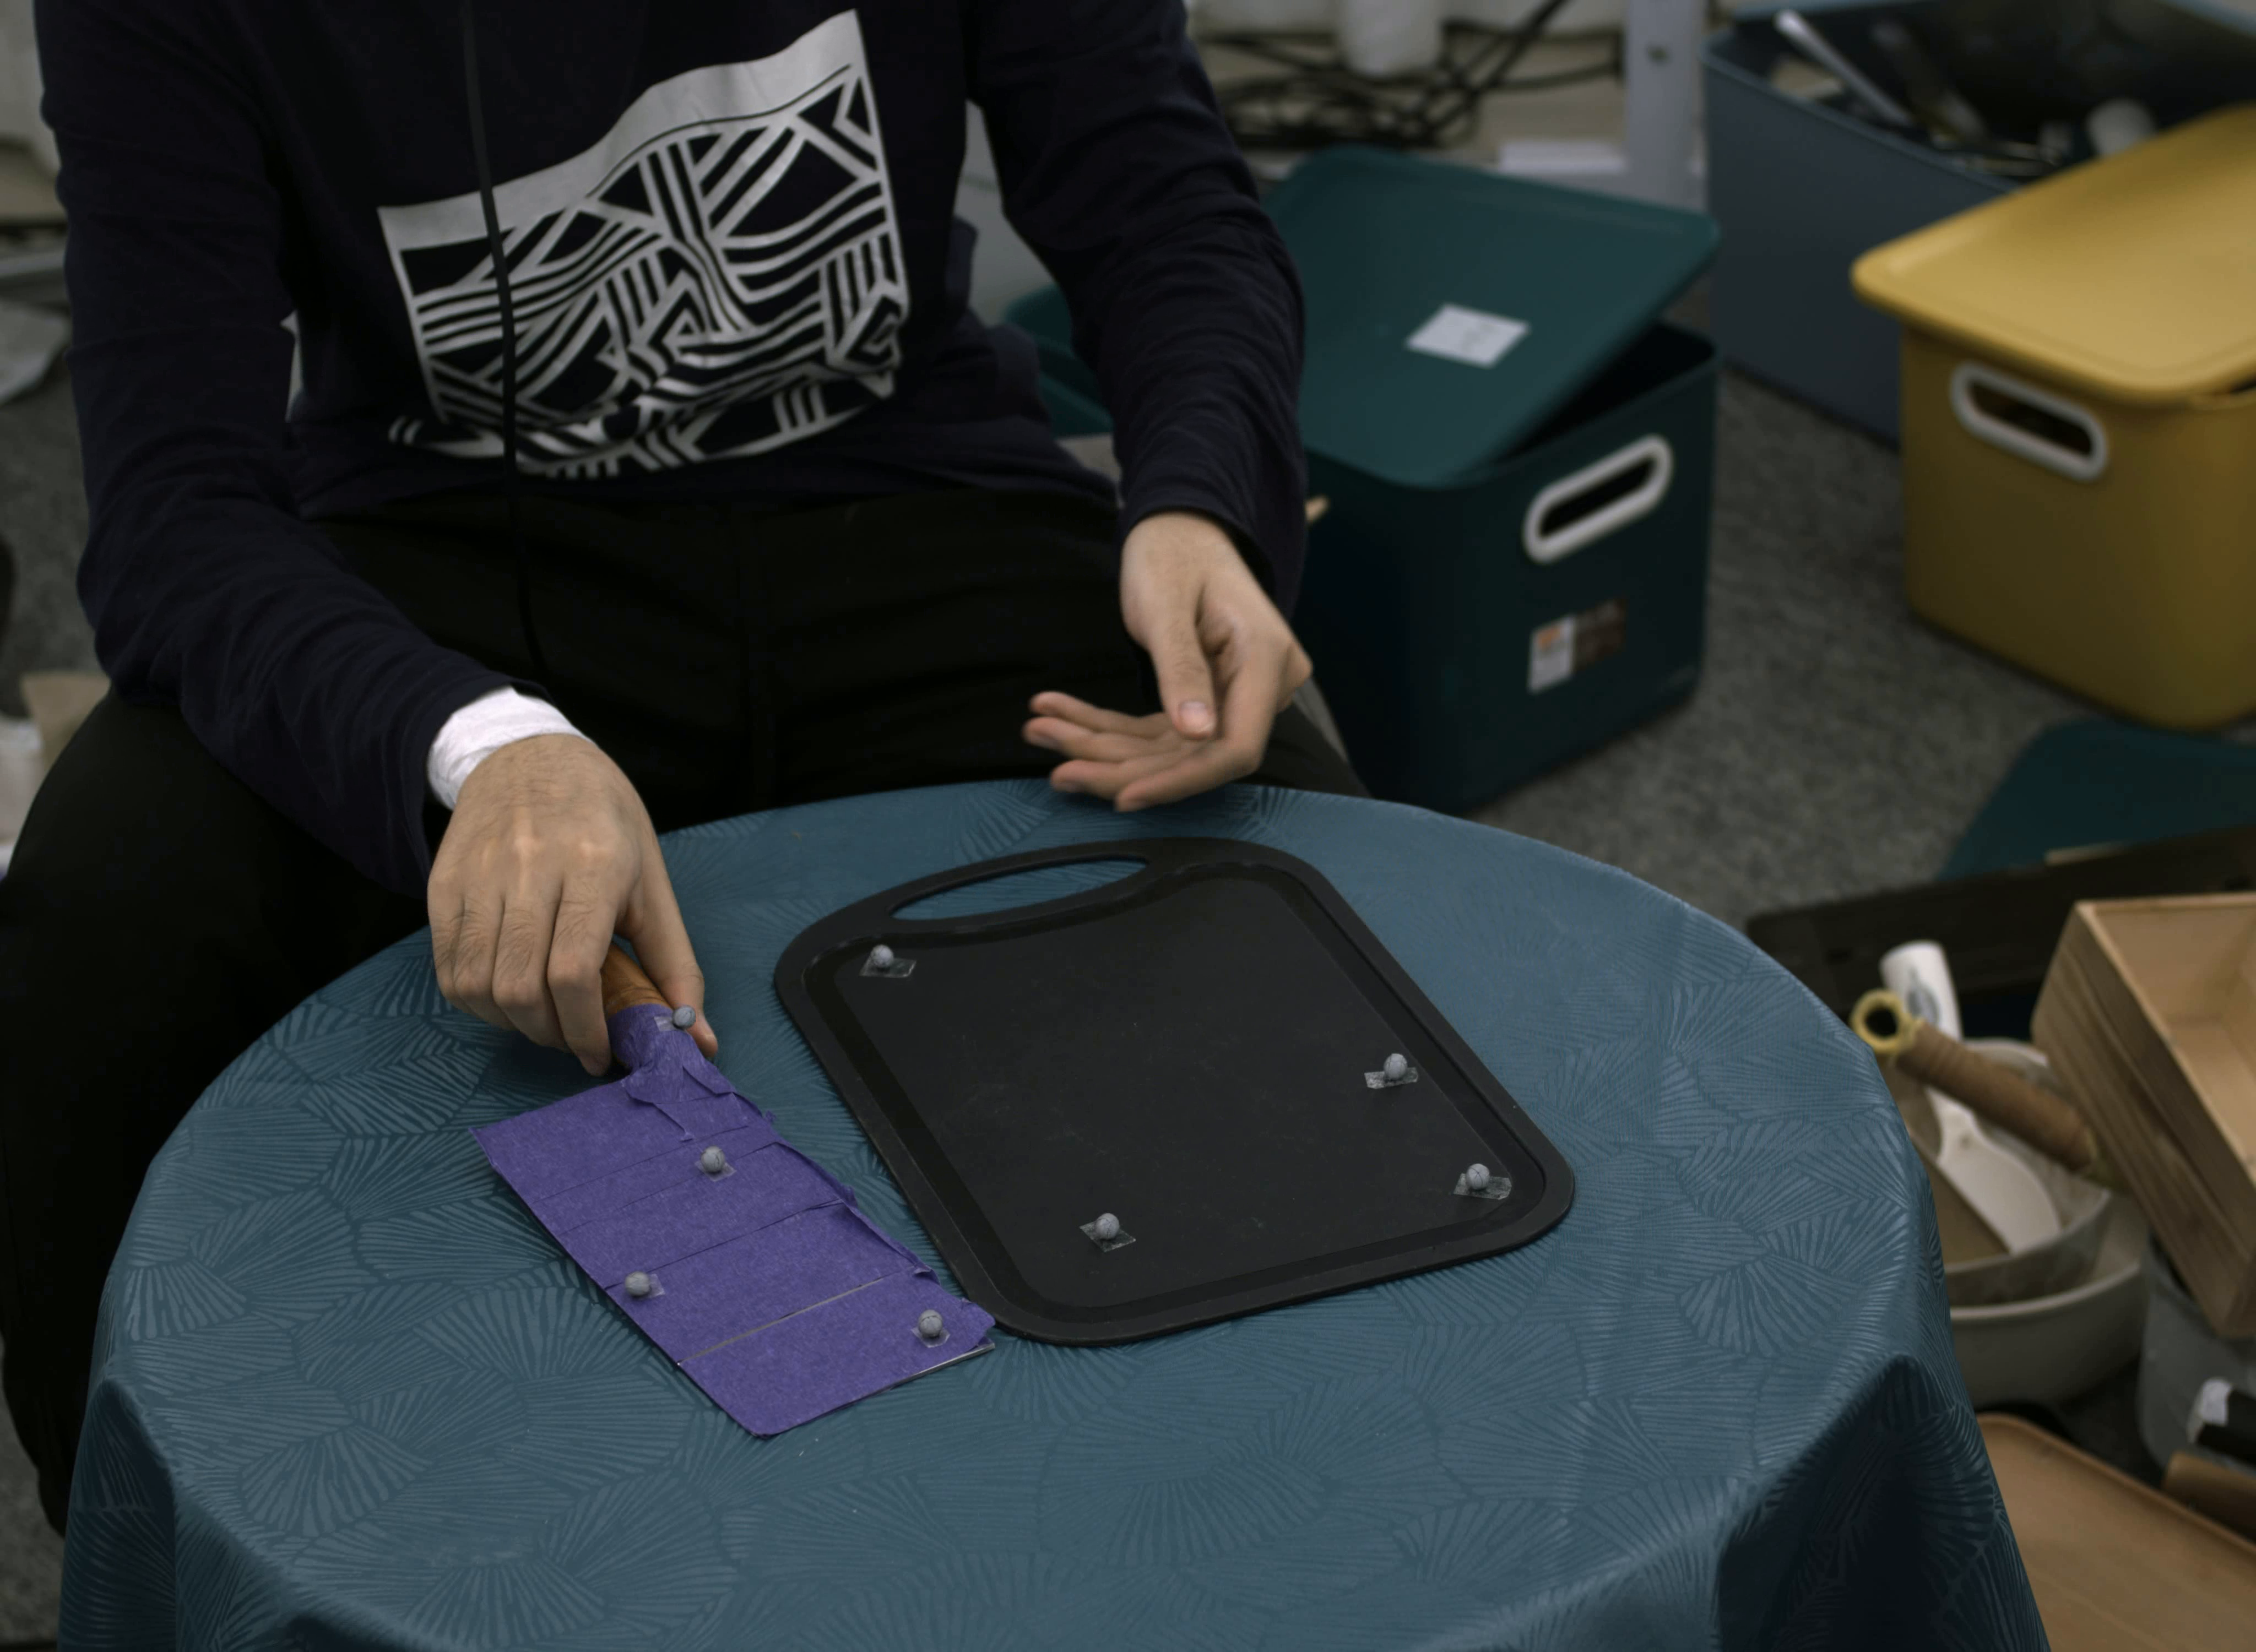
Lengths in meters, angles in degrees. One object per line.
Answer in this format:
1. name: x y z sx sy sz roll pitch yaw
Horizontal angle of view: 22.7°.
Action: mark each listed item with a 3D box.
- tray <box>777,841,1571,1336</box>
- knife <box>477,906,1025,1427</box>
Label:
1. tray: 0.006 0.081 1.932 0.211 0.009 0.328 -11 28 -16
2. knife: -0.157 0.109 1.871 0.104 0.032 0.316 -18 31 -28
